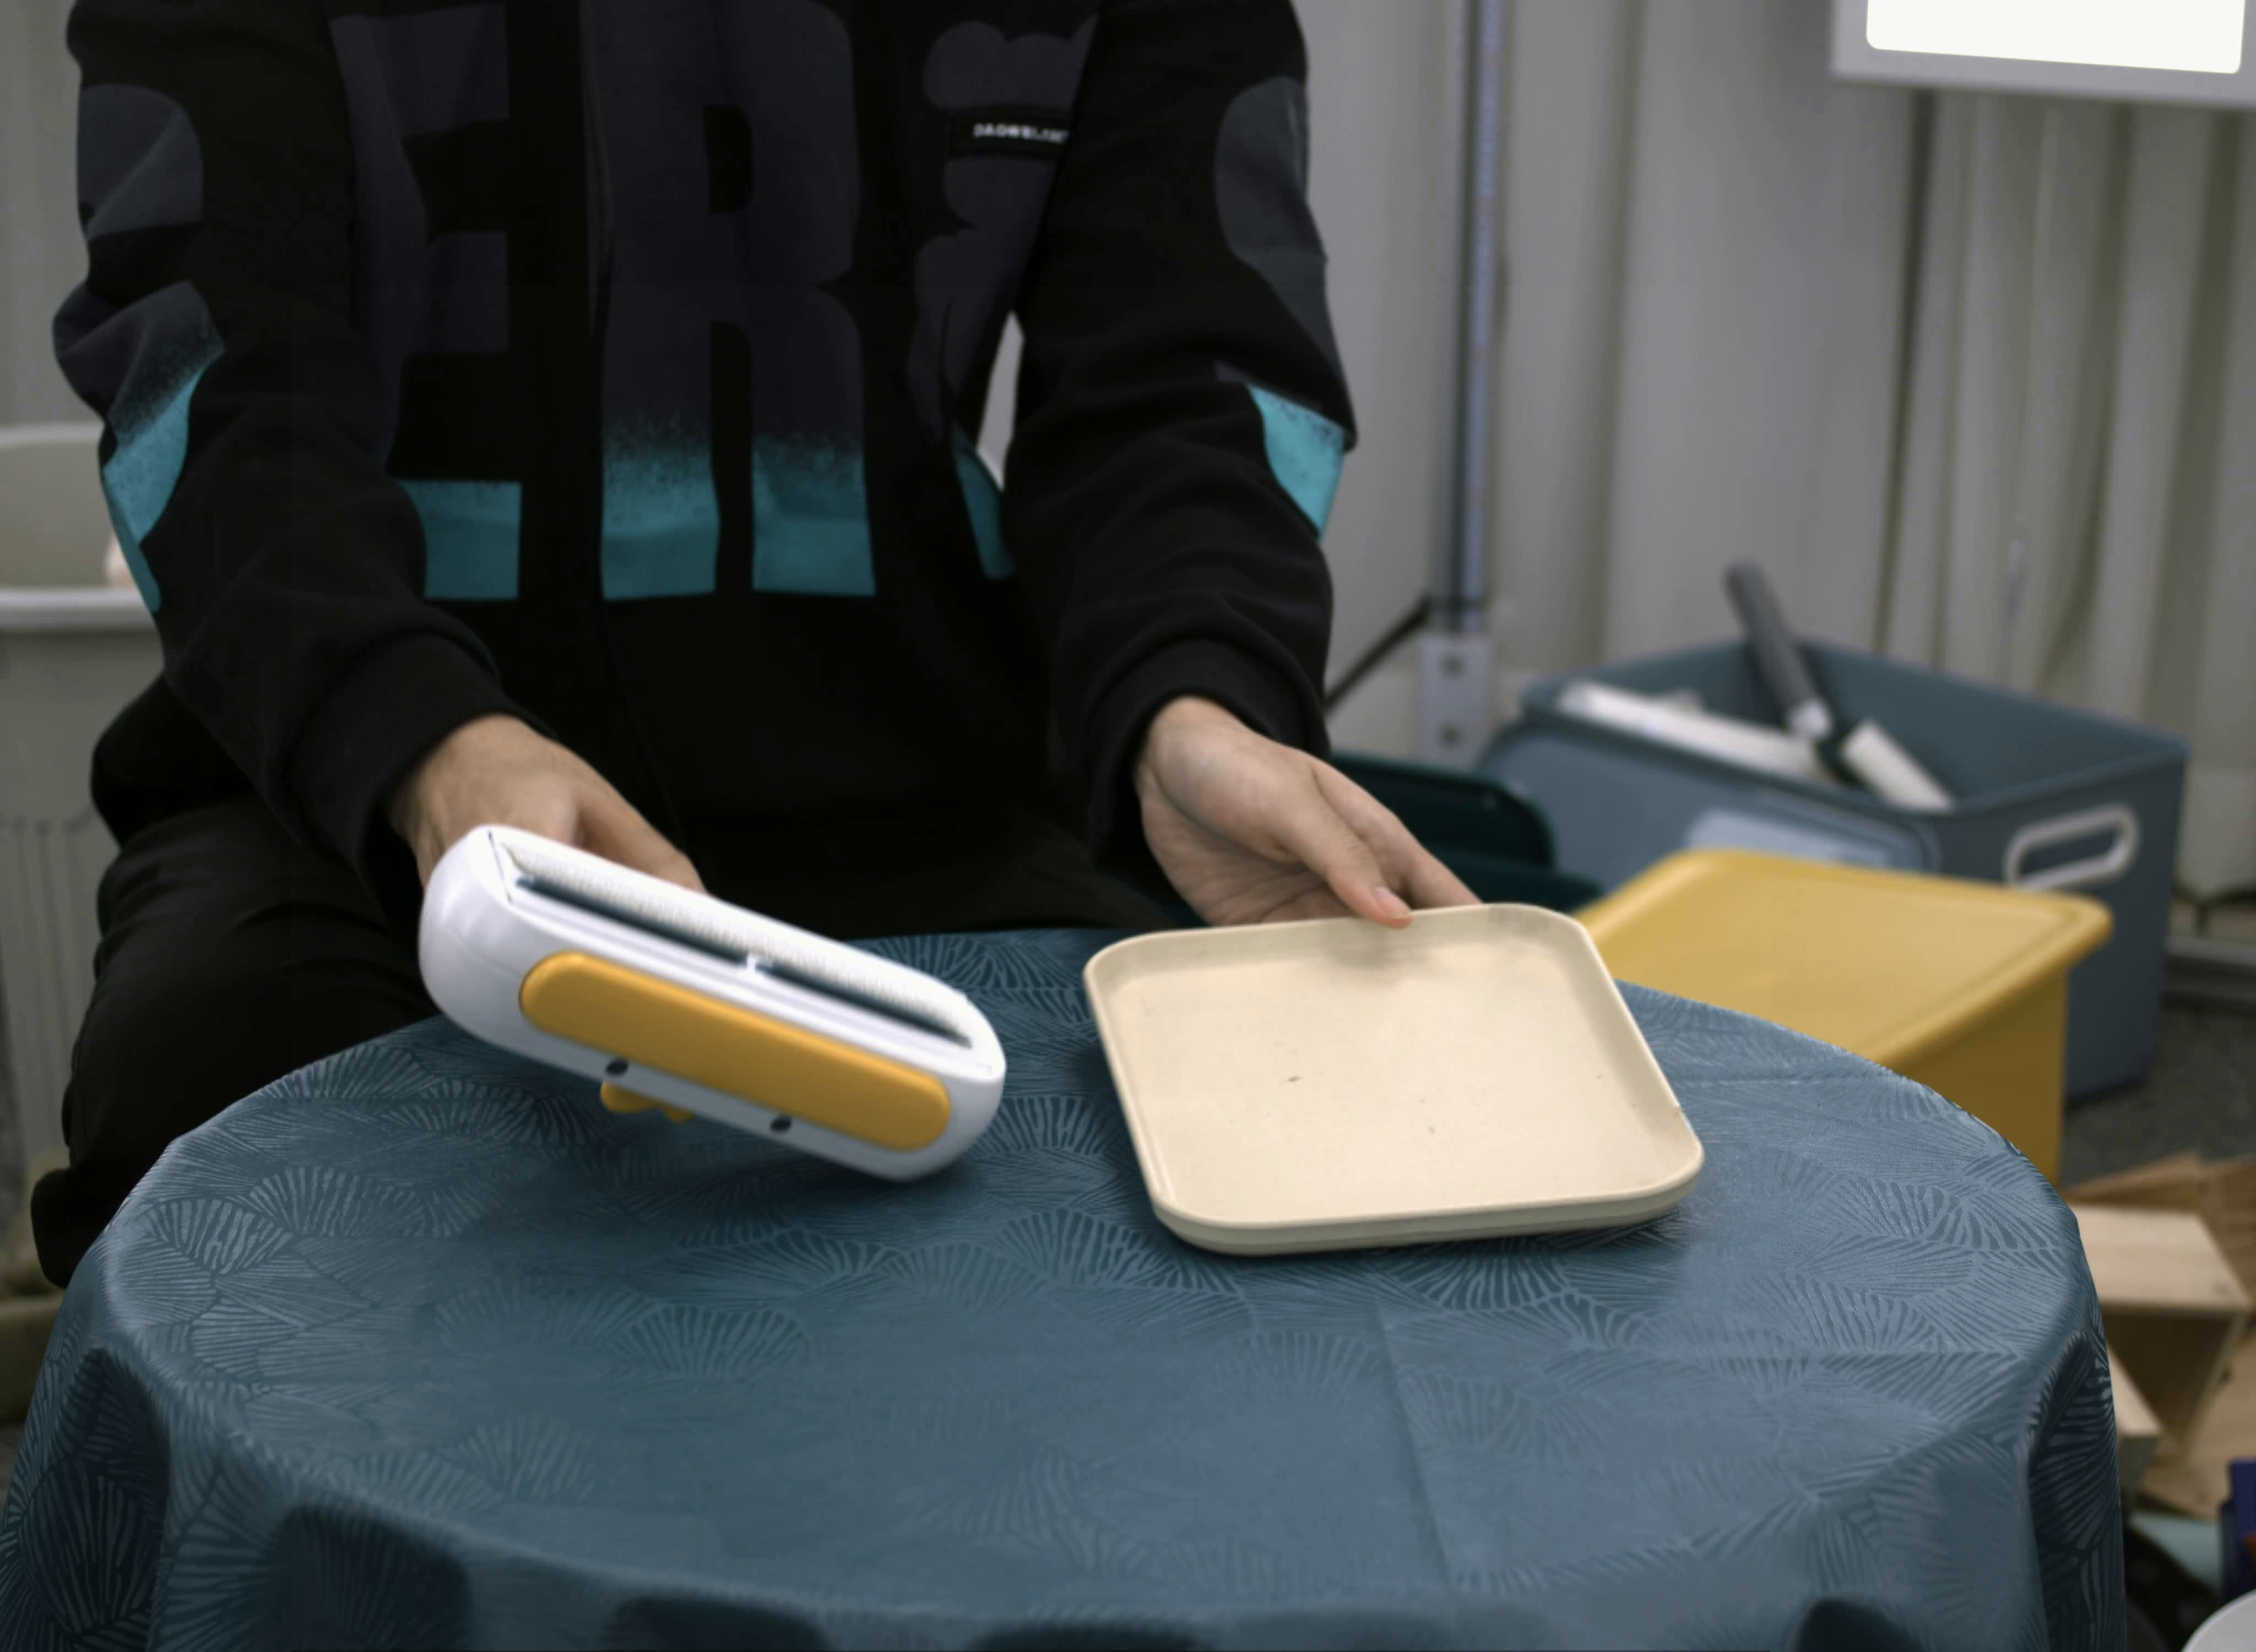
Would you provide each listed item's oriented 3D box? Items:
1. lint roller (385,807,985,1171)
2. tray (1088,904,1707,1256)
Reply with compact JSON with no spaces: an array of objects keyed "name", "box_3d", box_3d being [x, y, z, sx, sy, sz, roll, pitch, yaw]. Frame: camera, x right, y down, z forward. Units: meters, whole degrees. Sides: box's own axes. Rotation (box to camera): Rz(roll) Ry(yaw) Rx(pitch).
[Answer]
[{"name":"lint roller","box_3d":[-0.152,0.036,1.647,0.194,0.074,0.190,17,15,-23]},{"name":"tray","box_3d":[0.081,0.079,1.670,0.171,0.017,0.237,-4,21,-5]}]
